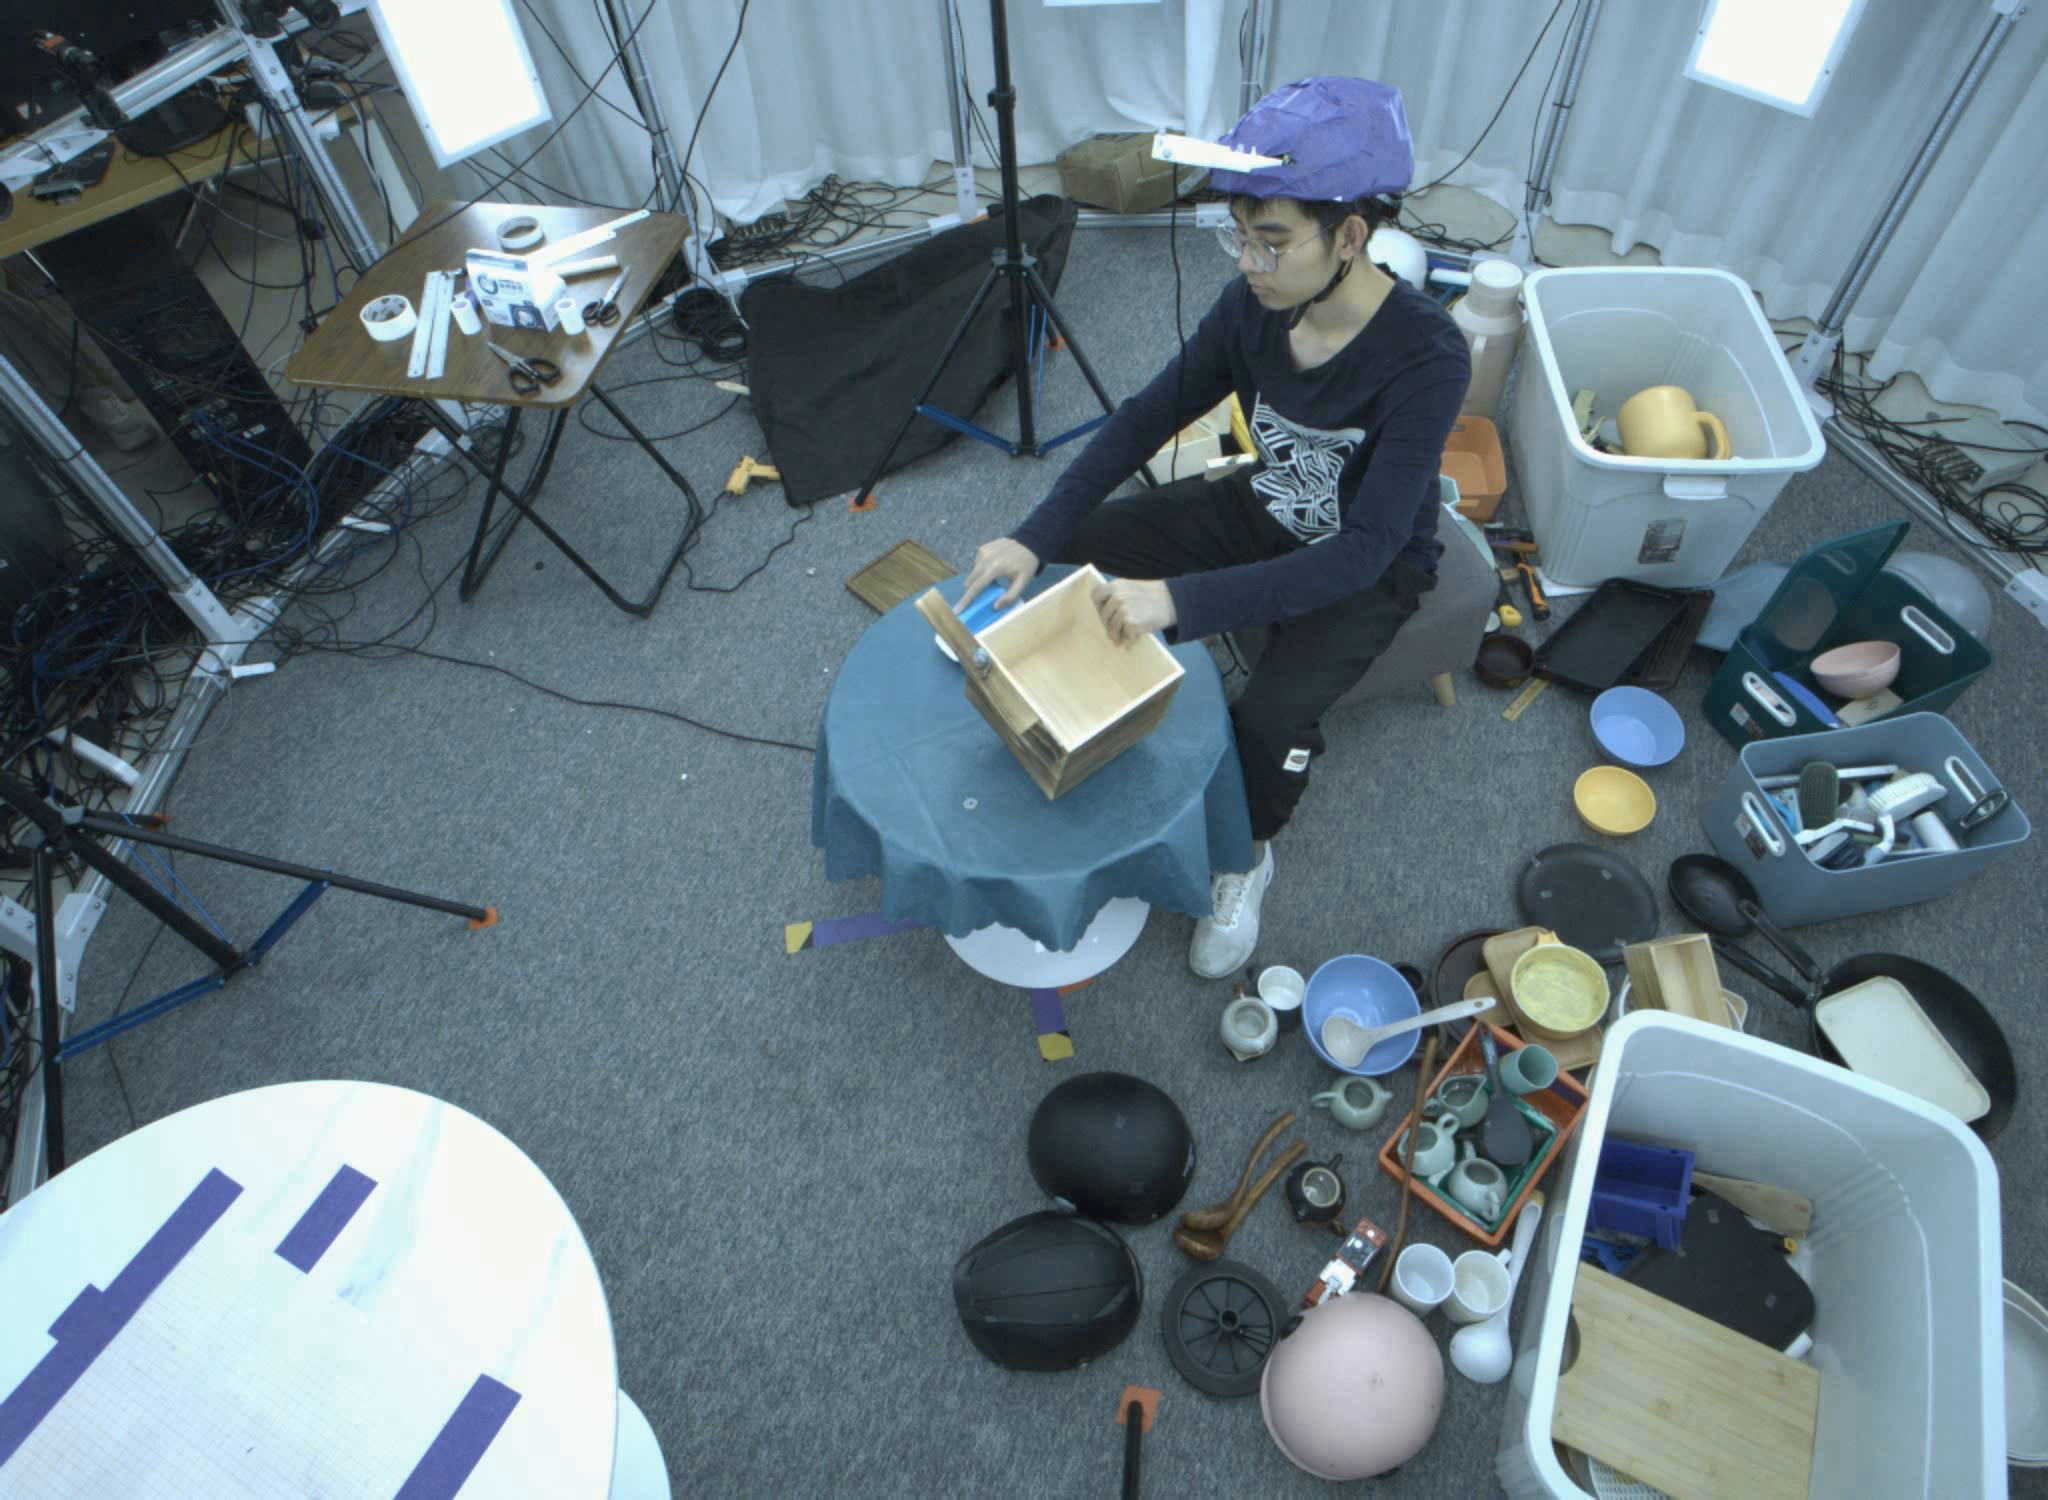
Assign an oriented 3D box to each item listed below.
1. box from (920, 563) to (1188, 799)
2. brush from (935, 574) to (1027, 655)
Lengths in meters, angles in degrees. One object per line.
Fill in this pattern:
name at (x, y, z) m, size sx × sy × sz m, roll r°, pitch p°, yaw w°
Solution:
box at (0.035, -0.100, 1.557) m, size 0.324 × 0.376 × 0.207 m, roll -34°, pitch 75°, yaw -19°
brush at (-0.071, -0.213, 1.859) m, size 0.144 × 0.057 × 0.082 m, roll -40°, pitch 53°, yaw -3°
